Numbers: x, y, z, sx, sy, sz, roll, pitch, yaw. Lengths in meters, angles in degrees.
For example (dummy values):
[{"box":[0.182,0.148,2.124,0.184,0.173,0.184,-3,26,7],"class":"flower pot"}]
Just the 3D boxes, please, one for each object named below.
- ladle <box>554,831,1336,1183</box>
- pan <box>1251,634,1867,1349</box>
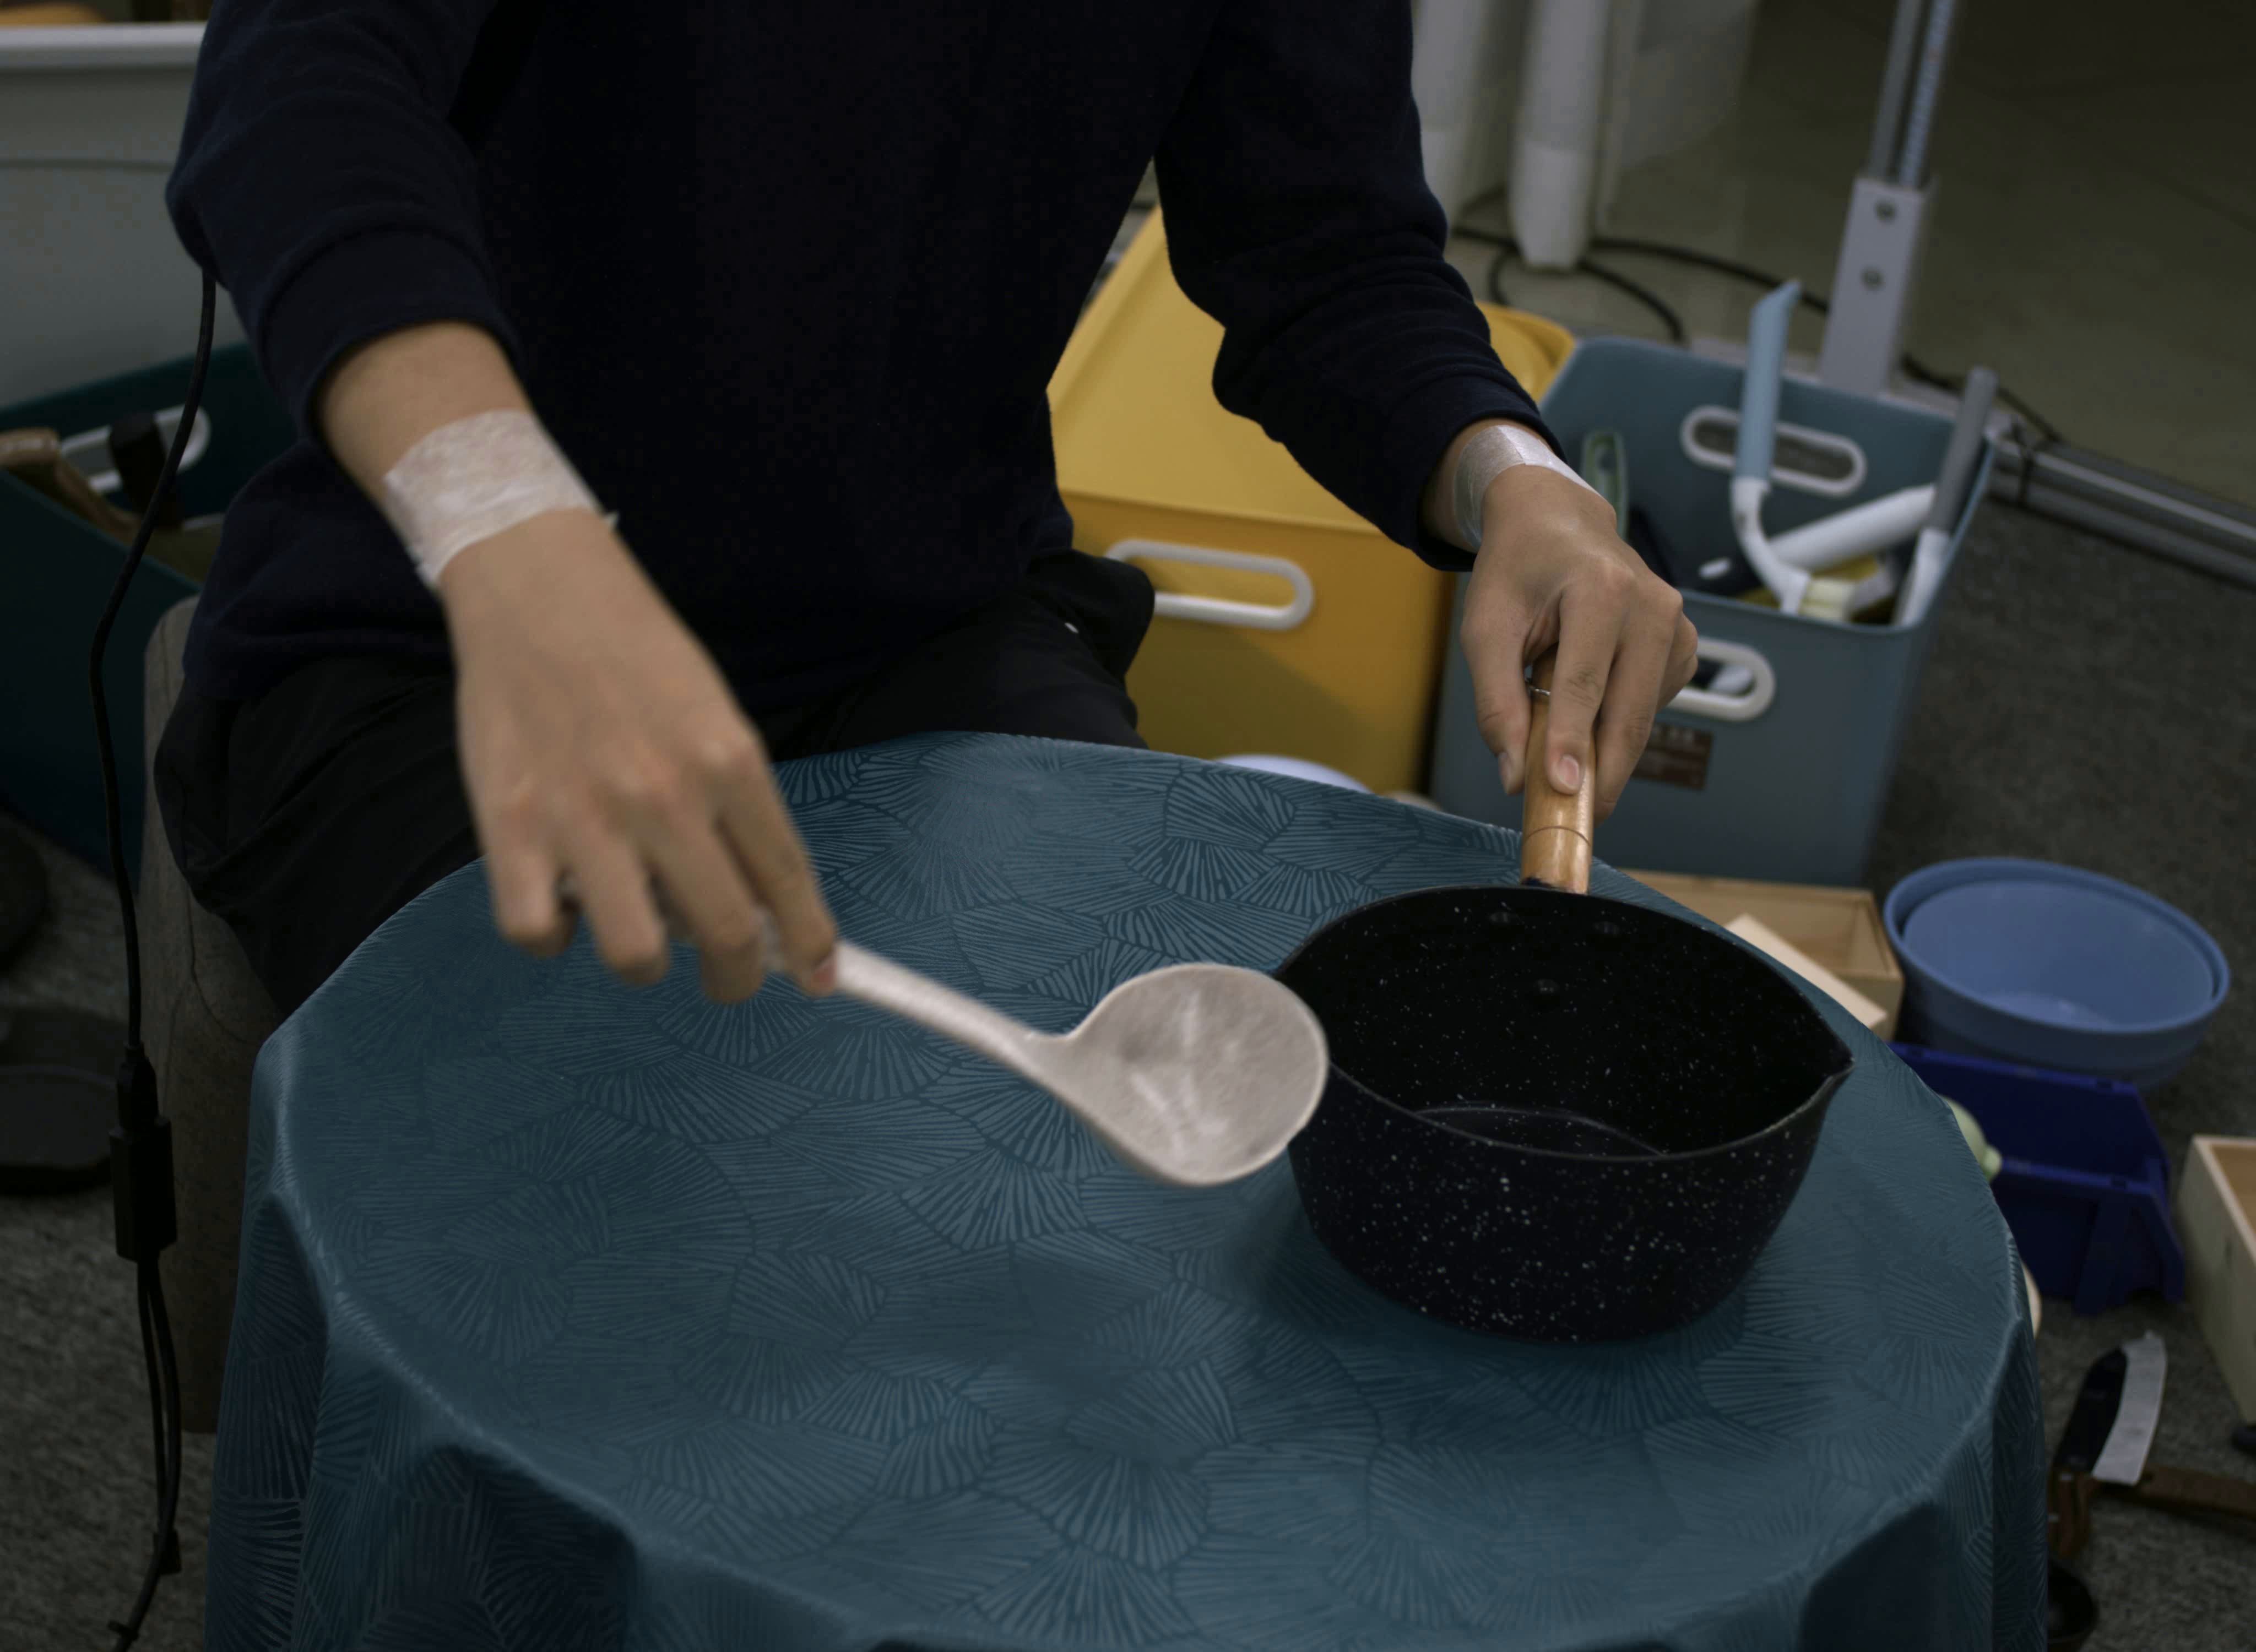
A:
[{"box":[-0.050,0.037,1.620,0.272,0.069,0.090,28,35,-39],"class":"ladle"},{"box":[0.145,0.053,1.854,0.207,0.108,0.345,6,28,1],"class":"pan"}]
